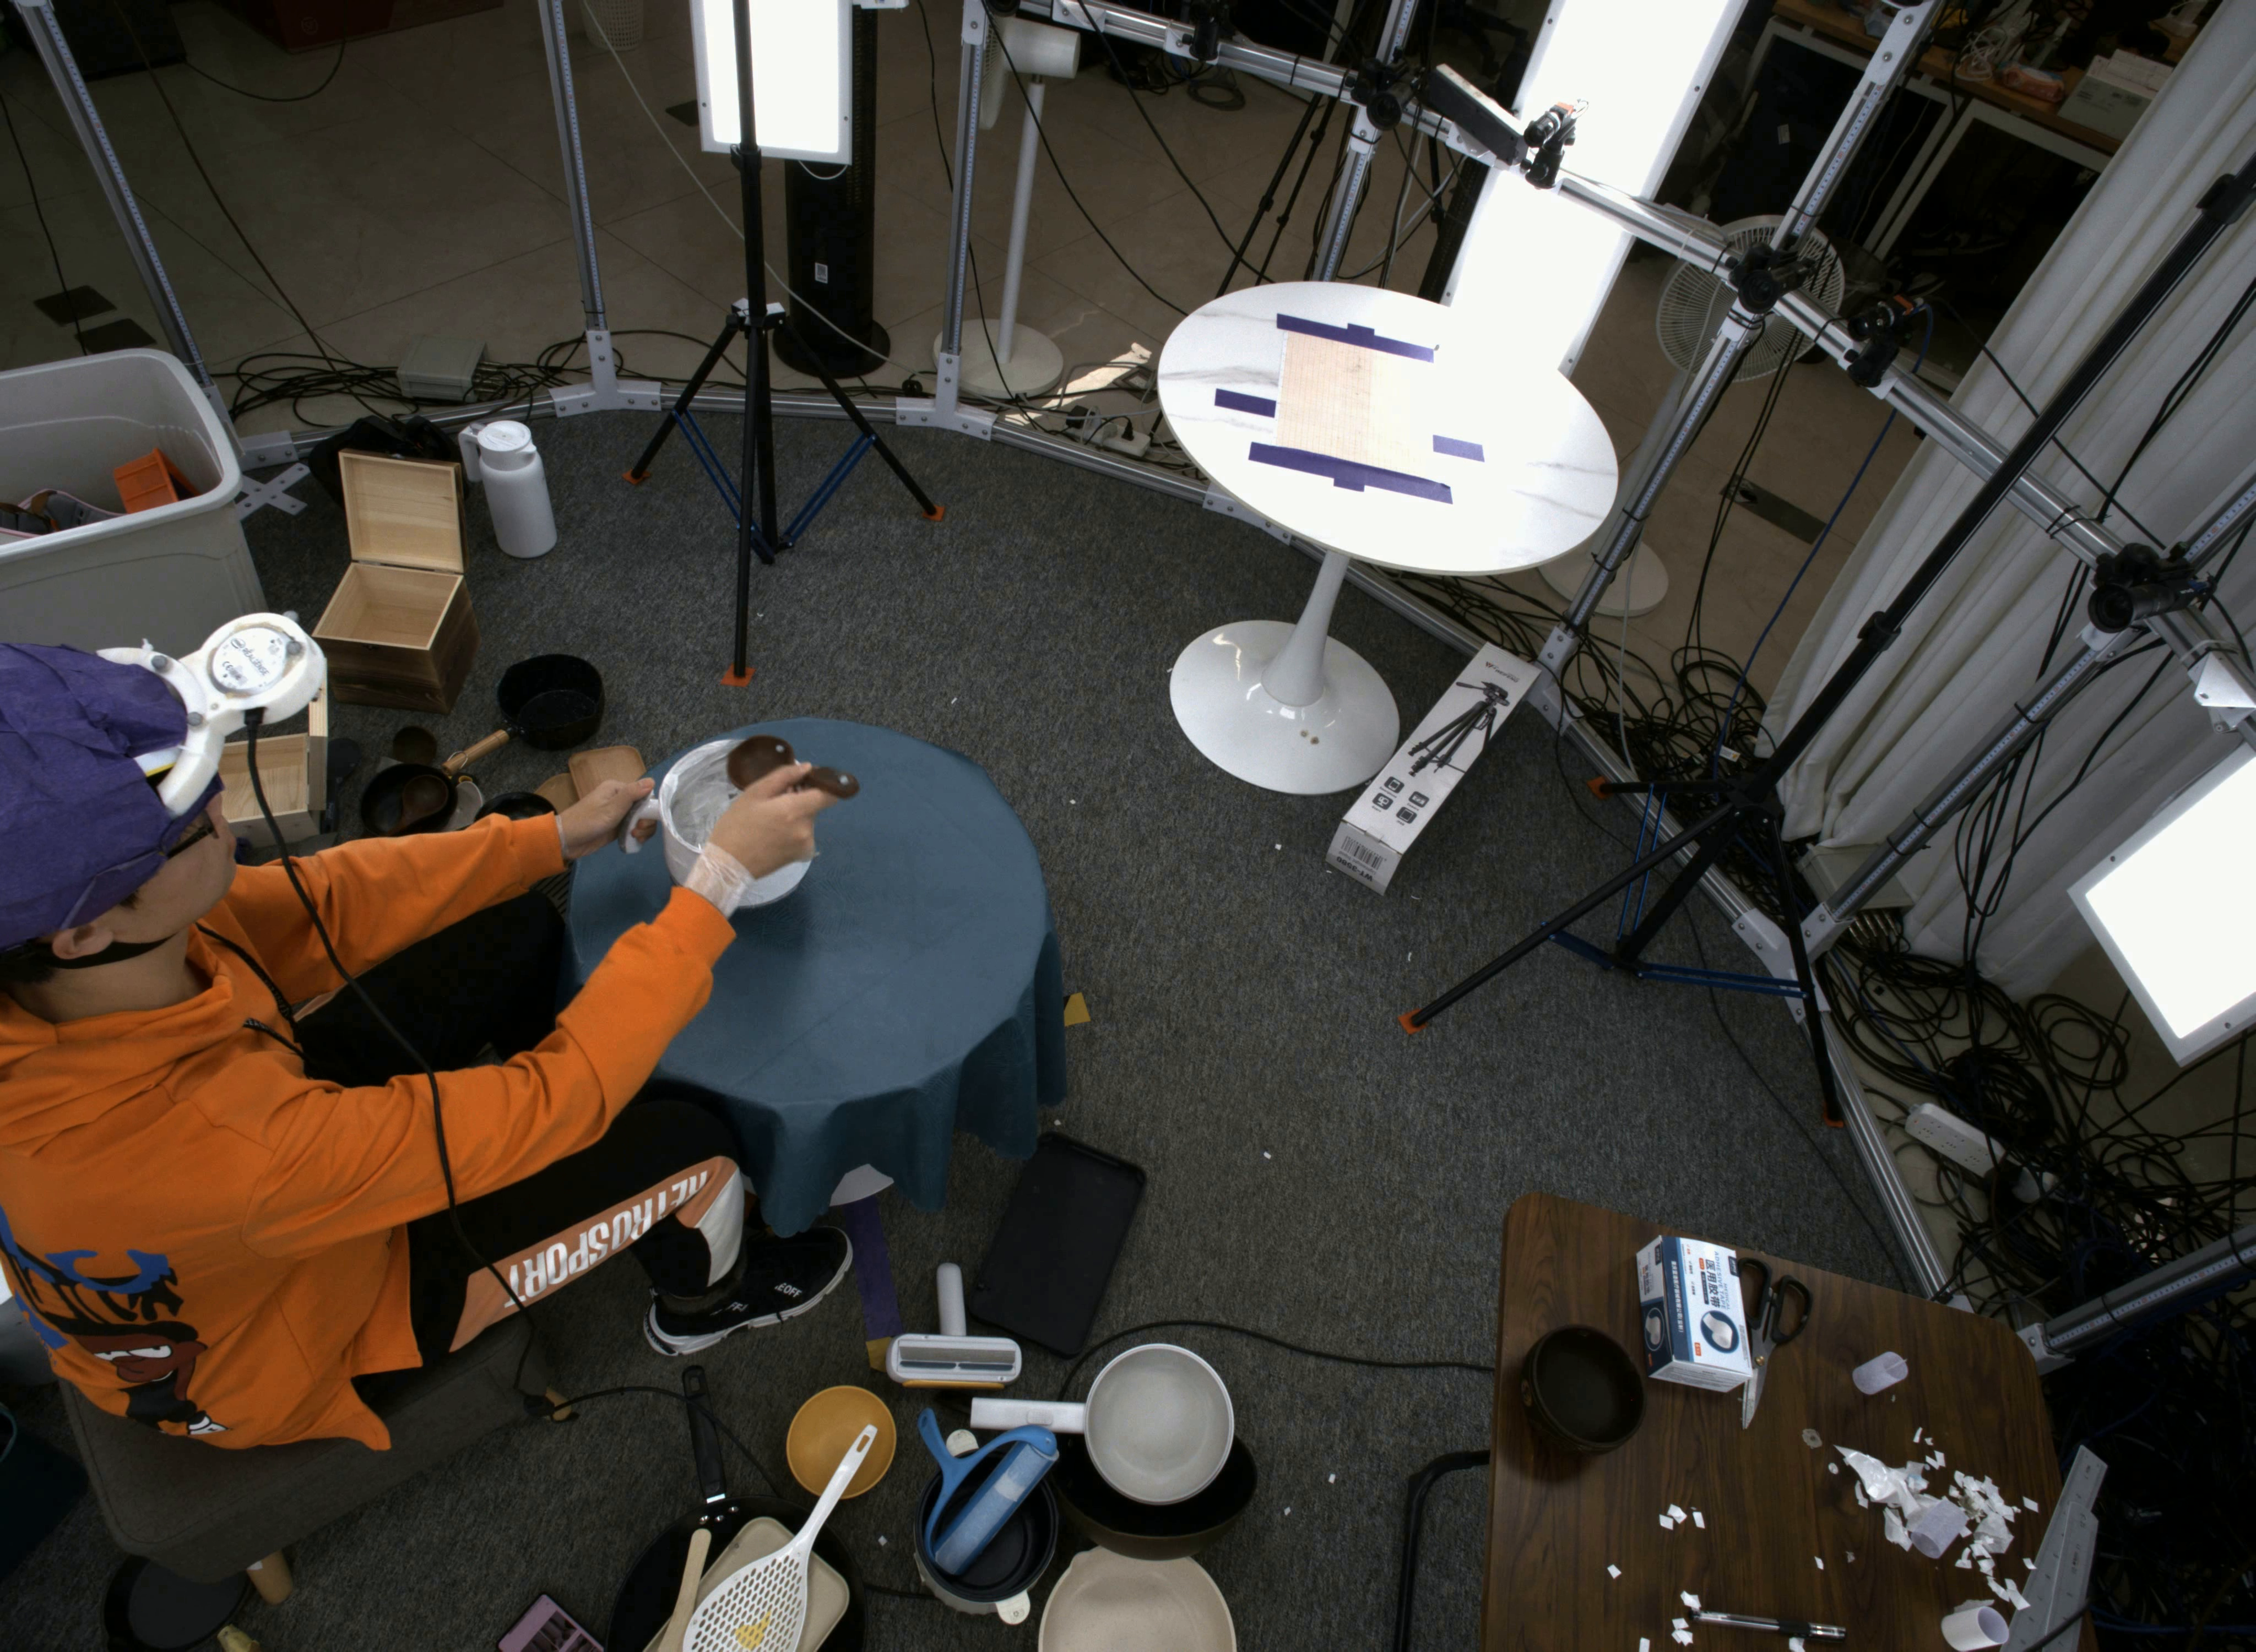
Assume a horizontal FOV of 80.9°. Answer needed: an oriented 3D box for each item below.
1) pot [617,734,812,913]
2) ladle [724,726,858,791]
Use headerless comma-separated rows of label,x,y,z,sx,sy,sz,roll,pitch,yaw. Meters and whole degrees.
pot,-0.492,-0.001,1.528,0.234,0.139,0.175,3,53,-13
ladle,-0.342,-0.067,1.306,0.076,0.252,0.067,-49,116,-21
